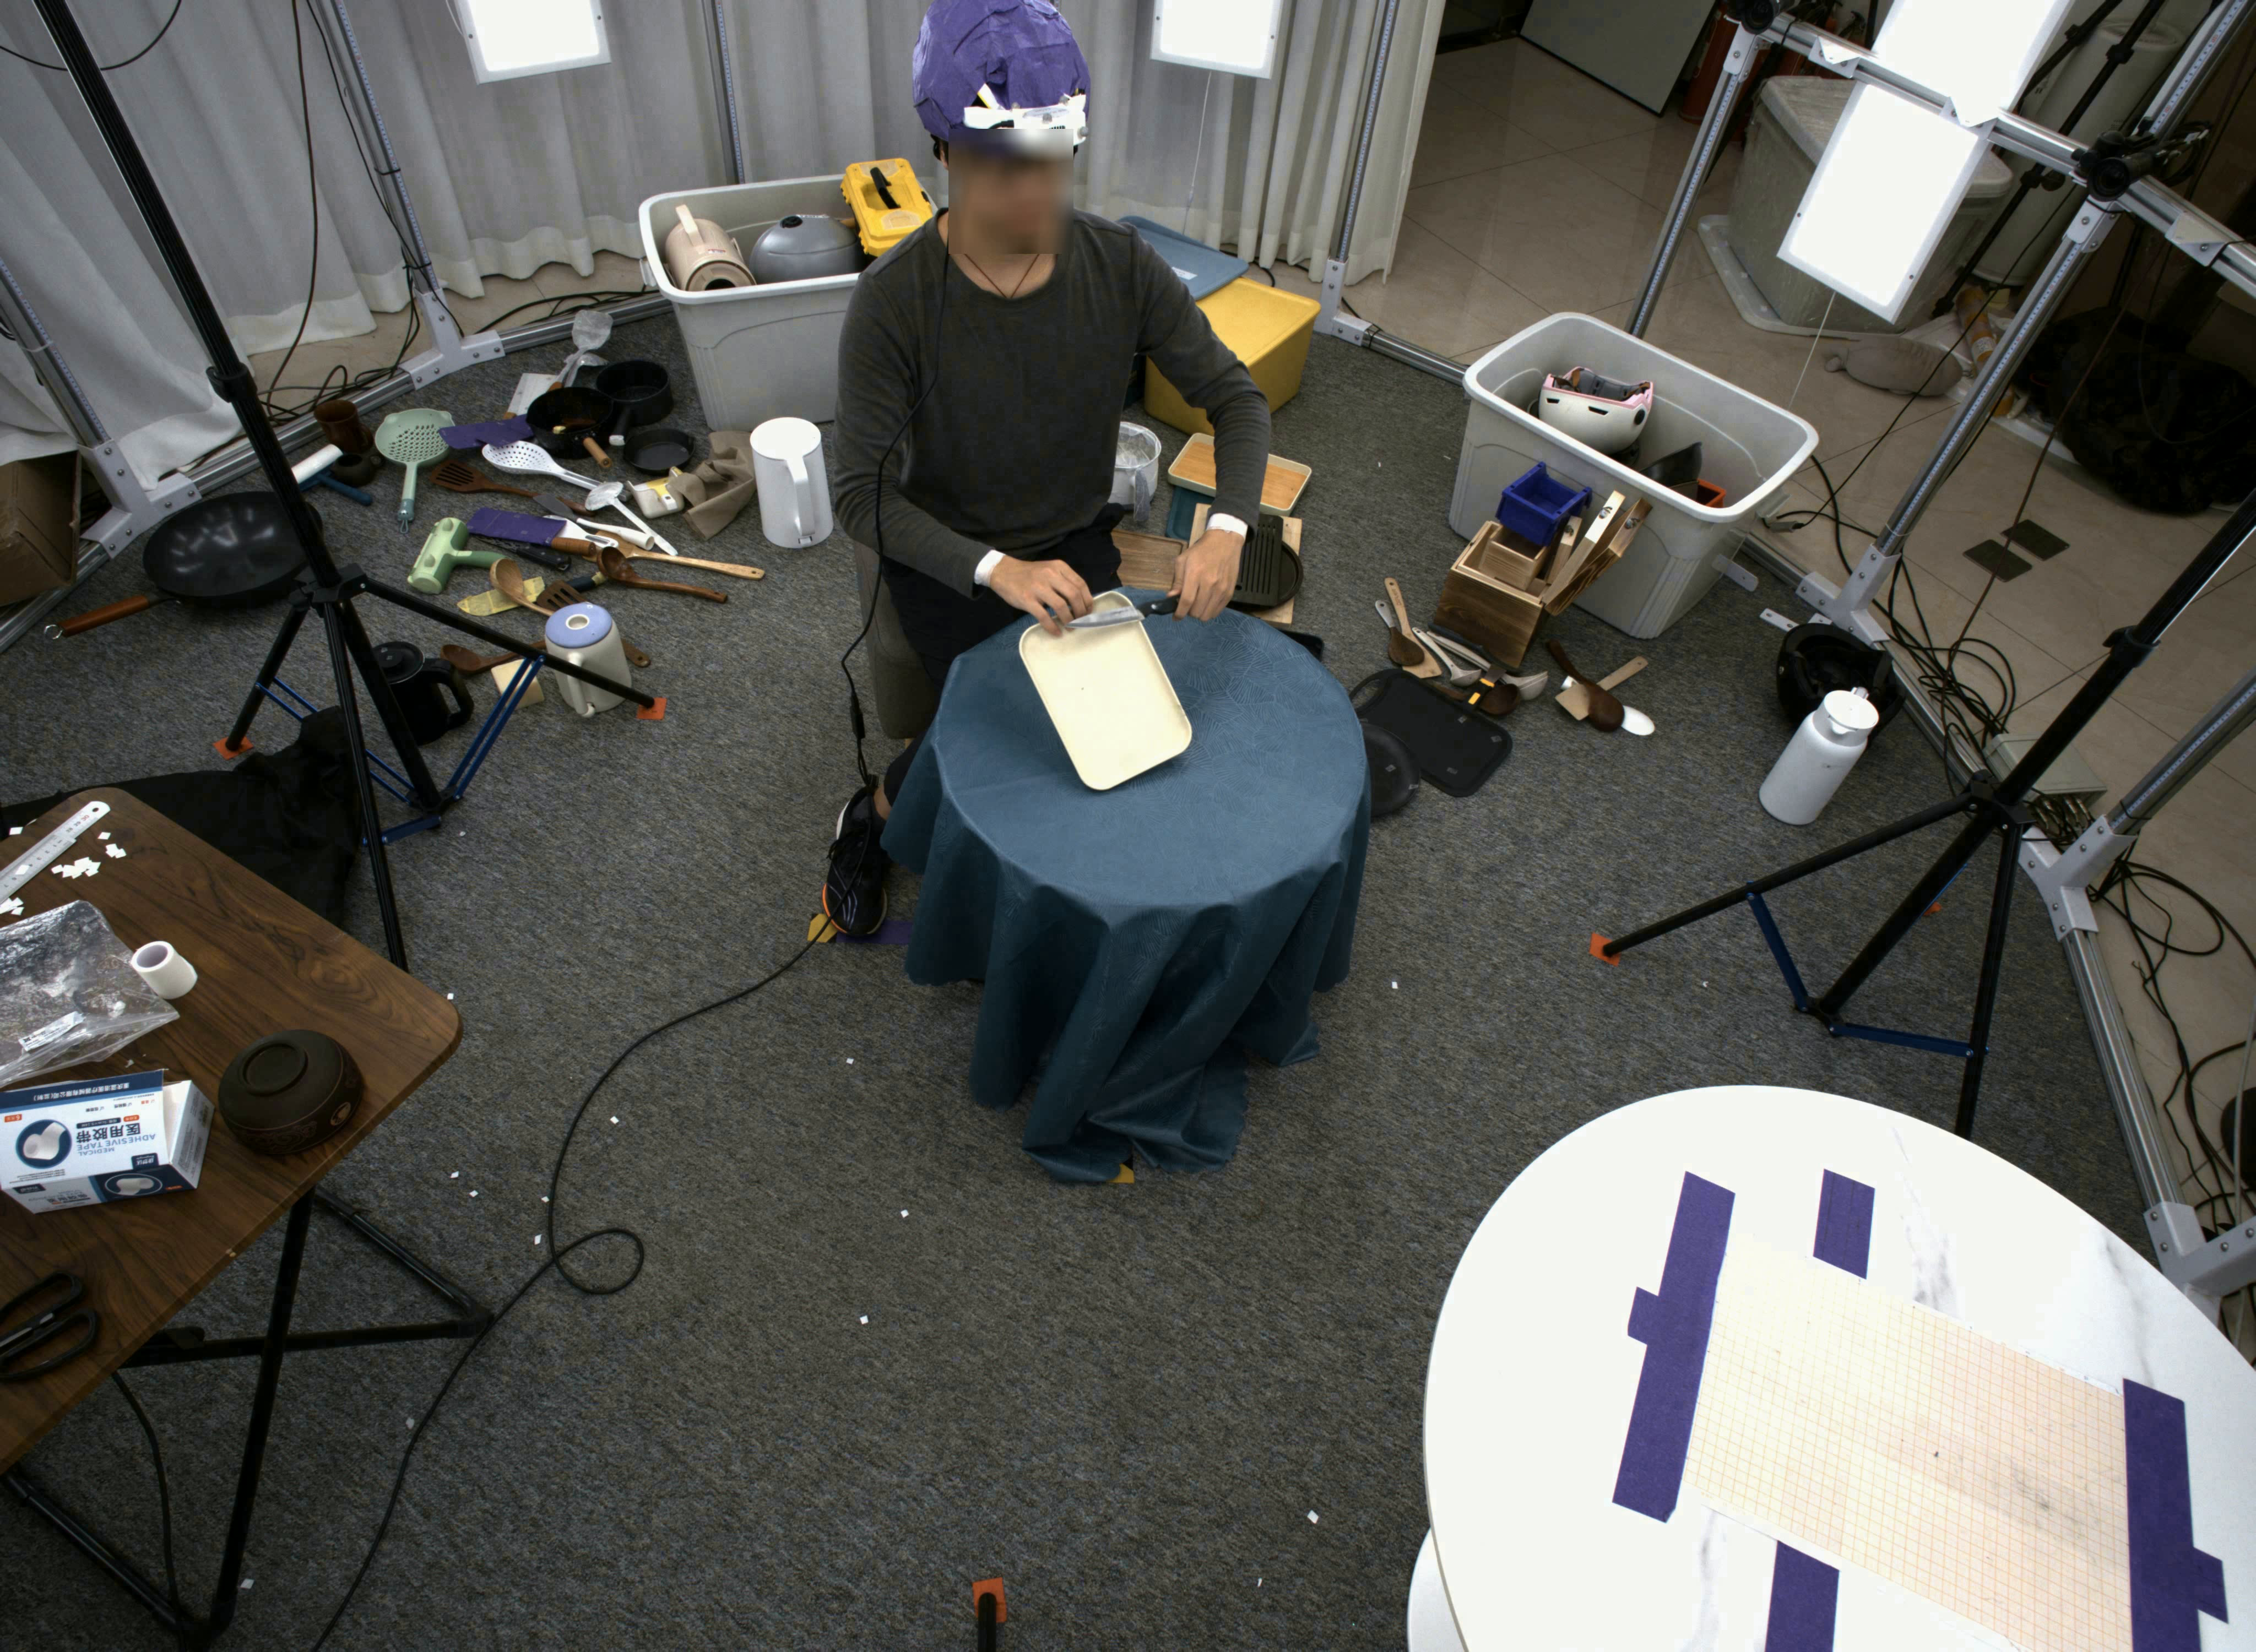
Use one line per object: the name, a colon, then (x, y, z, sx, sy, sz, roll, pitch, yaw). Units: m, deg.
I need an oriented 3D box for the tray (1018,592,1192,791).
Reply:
tray: (-0.030, -0.180, 1.717, 0.171, 0.017, 0.239, -26, 91, -12)

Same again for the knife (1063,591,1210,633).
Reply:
knife: (0.012, -0.288, 1.726, 0.239, 0.016, 0.024, -18, 88, -30)
